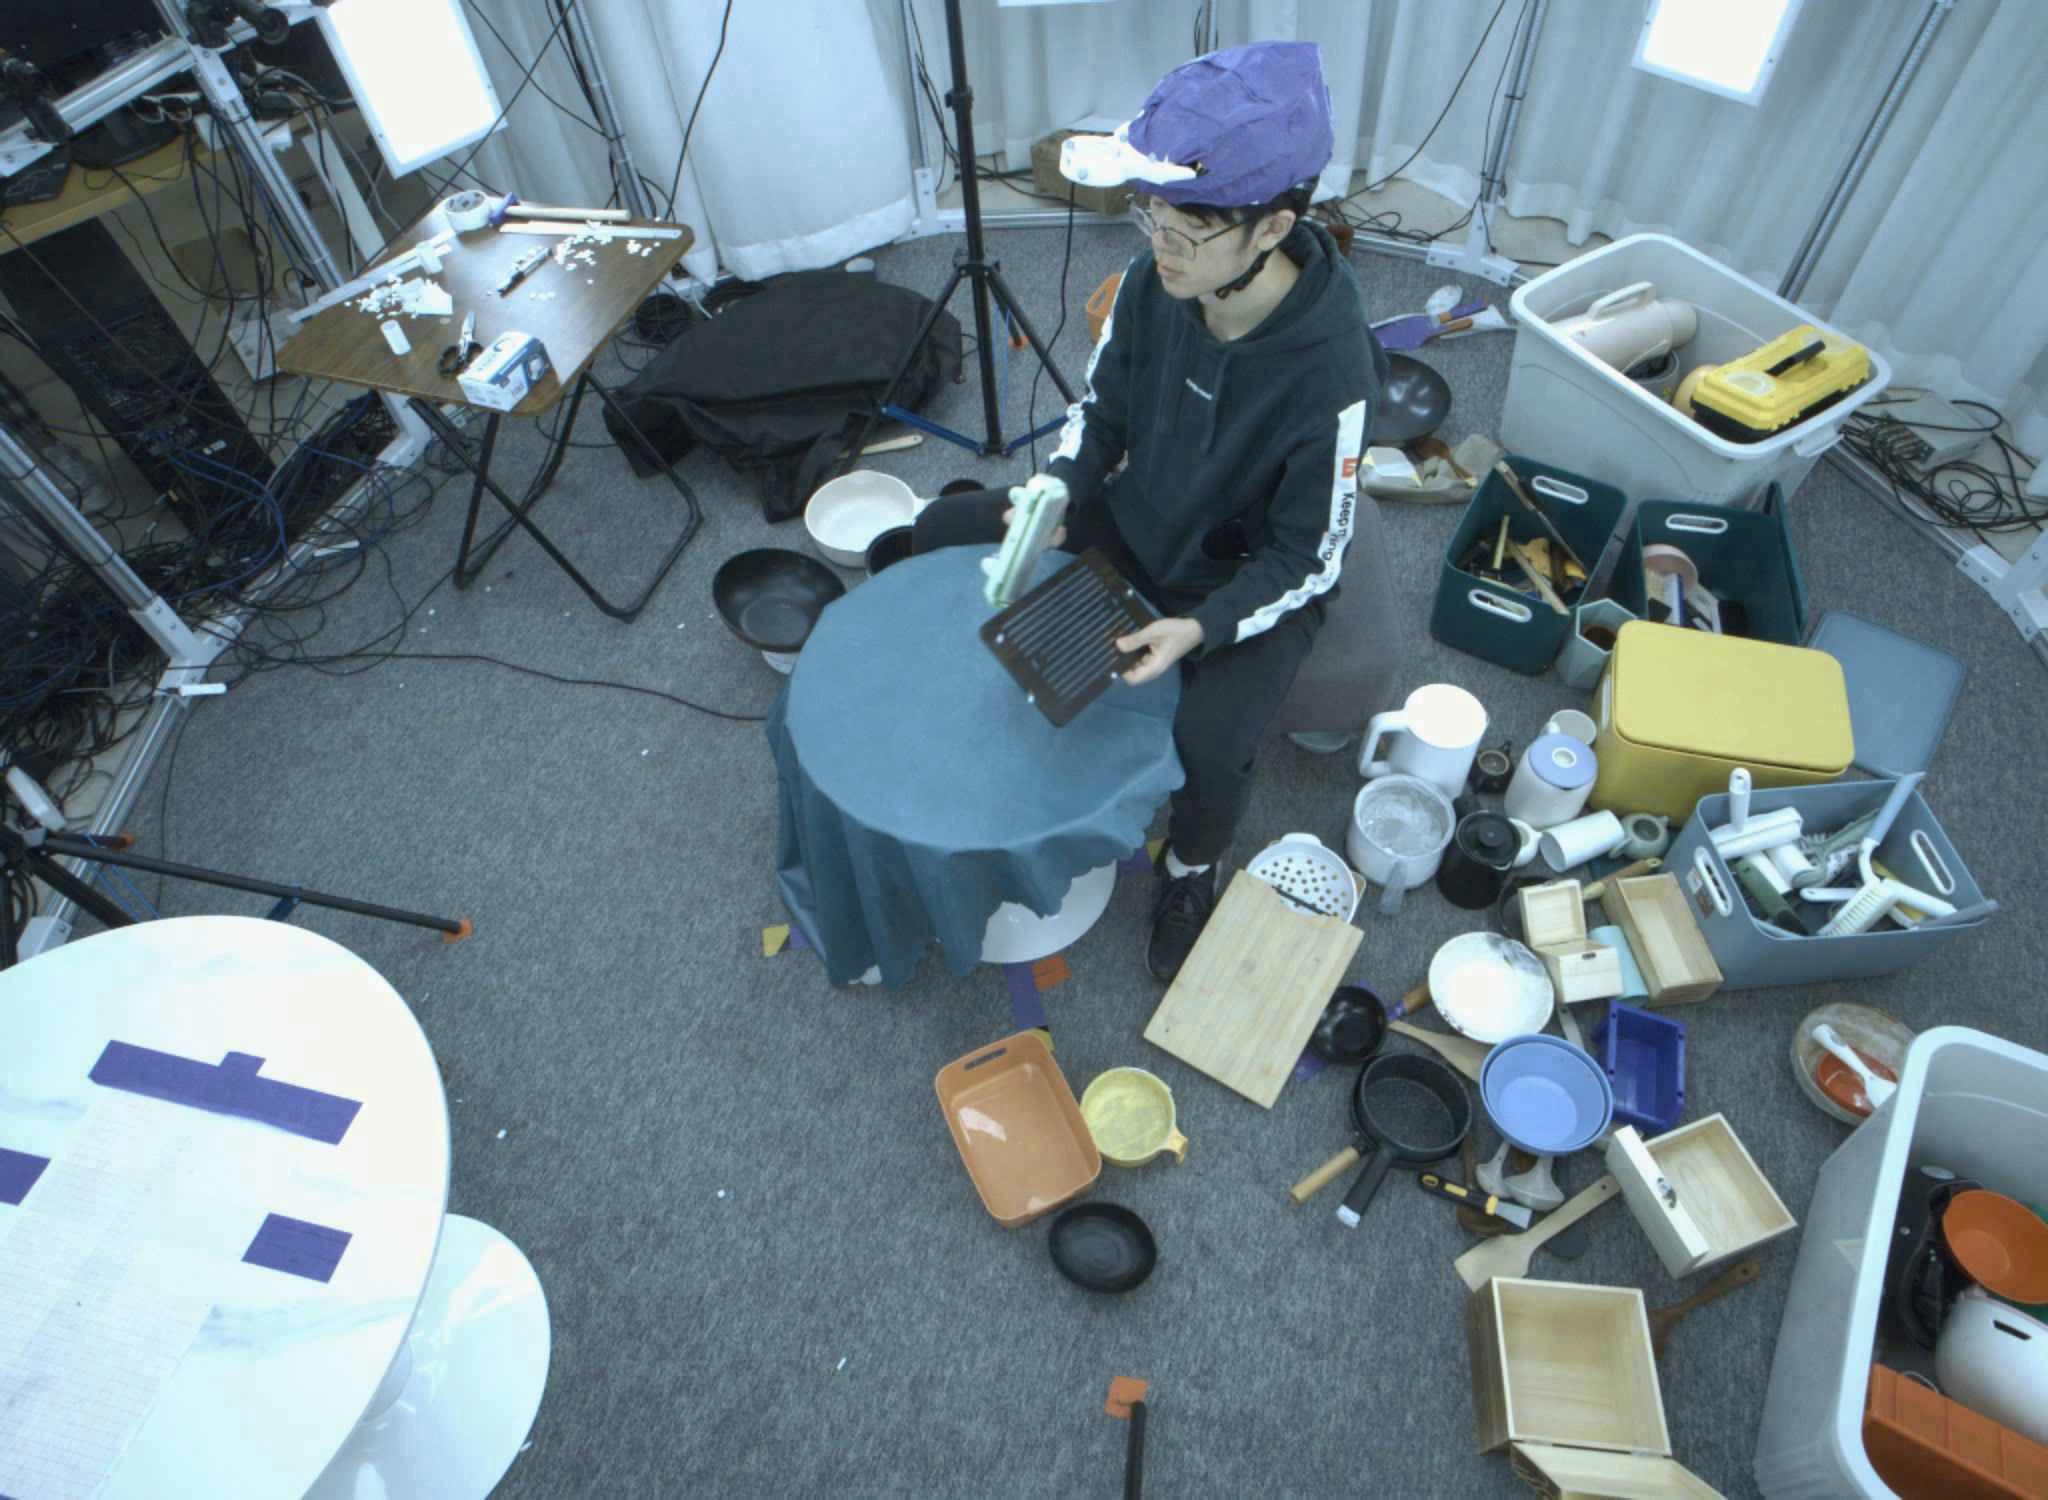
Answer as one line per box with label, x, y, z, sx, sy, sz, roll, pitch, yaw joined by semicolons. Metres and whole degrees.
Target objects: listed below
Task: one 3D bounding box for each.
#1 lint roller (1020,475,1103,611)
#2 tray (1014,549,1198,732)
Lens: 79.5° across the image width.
lint roller;0.058;-0.318;1.762;0.082;0.199;0.182;21;32;-2
tray;0.116;-0.154;1.670;0.170;0.018;0.309;54;45;-4
